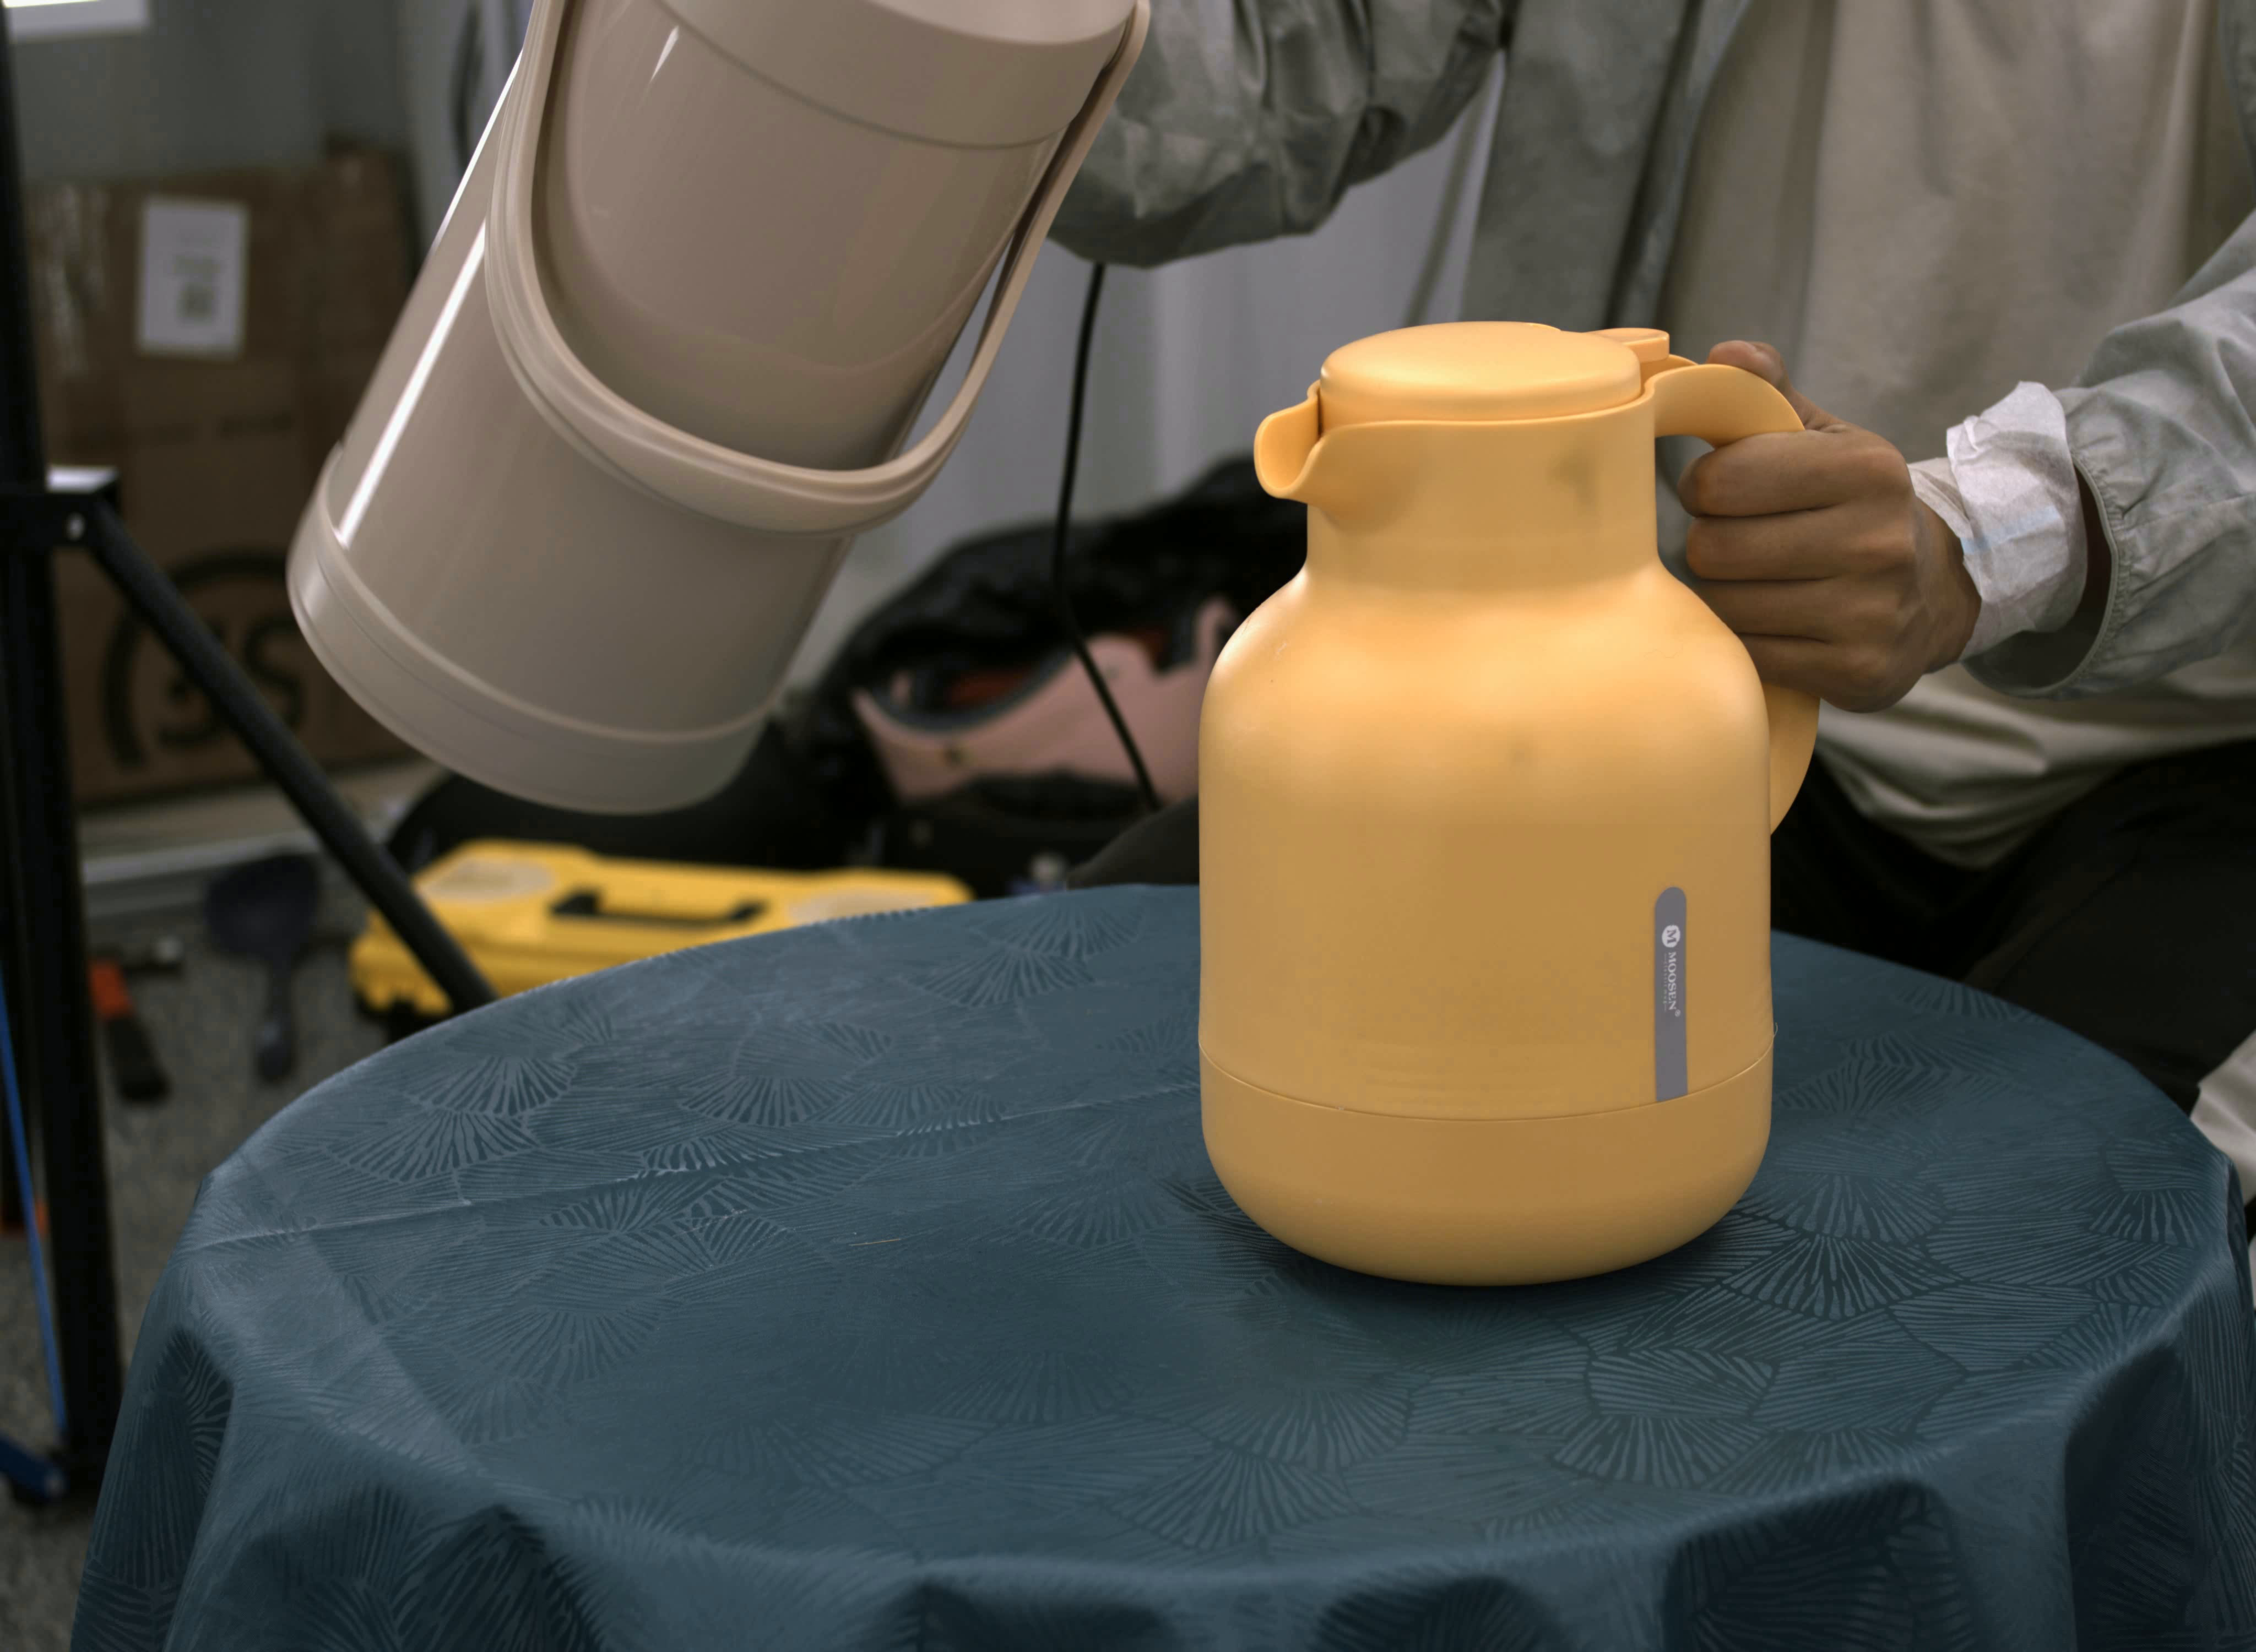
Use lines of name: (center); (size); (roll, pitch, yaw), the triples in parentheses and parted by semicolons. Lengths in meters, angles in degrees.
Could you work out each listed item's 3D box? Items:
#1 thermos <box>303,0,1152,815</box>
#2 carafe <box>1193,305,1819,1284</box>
thermos: (-0.108, -0.211, 1.609); (0.172, 0.408, 0.210); (15, 35, -19)
carafe: (0.115, -0.015, 1.494); (0.198, 0.260, 0.167); (-13, 20, -32)
